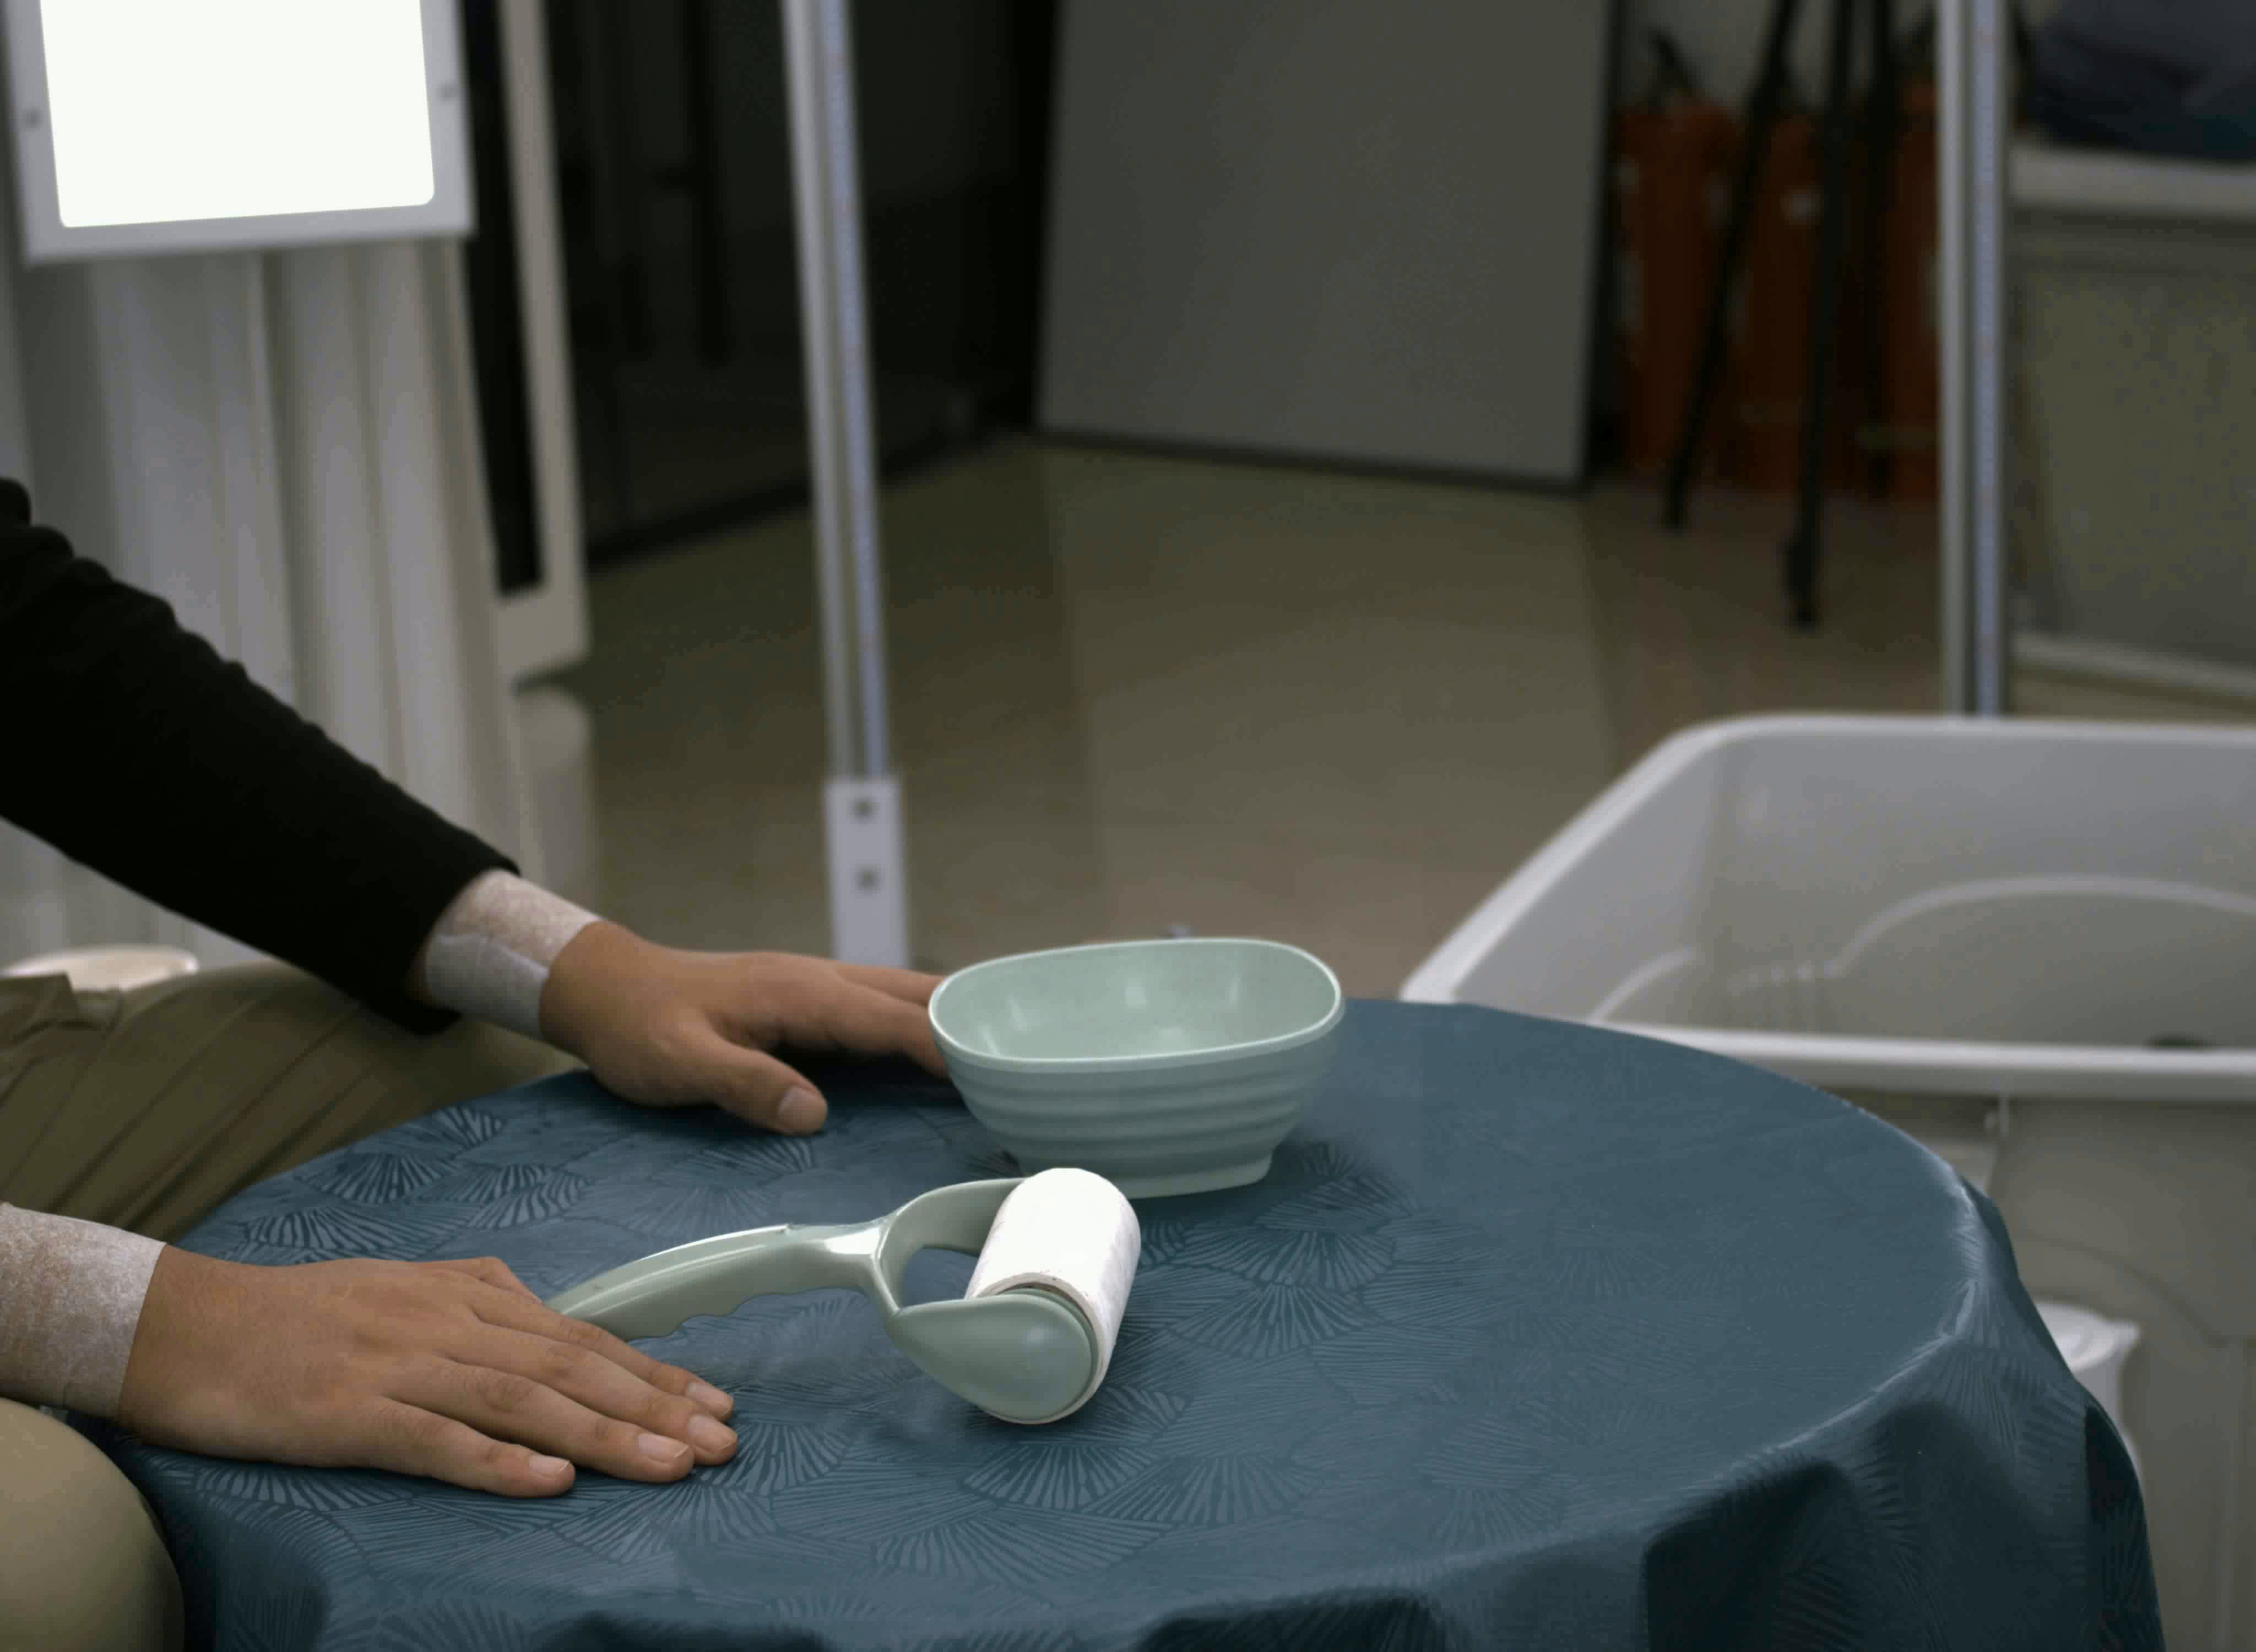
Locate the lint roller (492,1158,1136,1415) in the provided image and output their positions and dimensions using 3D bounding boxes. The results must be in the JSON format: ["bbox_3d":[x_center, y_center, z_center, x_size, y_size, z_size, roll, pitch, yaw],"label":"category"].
[{"bbox_3d":[-0.095,0.142,1.622,0.196,0.049,0.116,-3,15,7],"label":"lint roller"}]

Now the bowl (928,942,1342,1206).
[{"bbox_3d":[0.003,0.085,1.796,0.149,0.059,0.152,-3,14,0],"label":"bowl"}]
